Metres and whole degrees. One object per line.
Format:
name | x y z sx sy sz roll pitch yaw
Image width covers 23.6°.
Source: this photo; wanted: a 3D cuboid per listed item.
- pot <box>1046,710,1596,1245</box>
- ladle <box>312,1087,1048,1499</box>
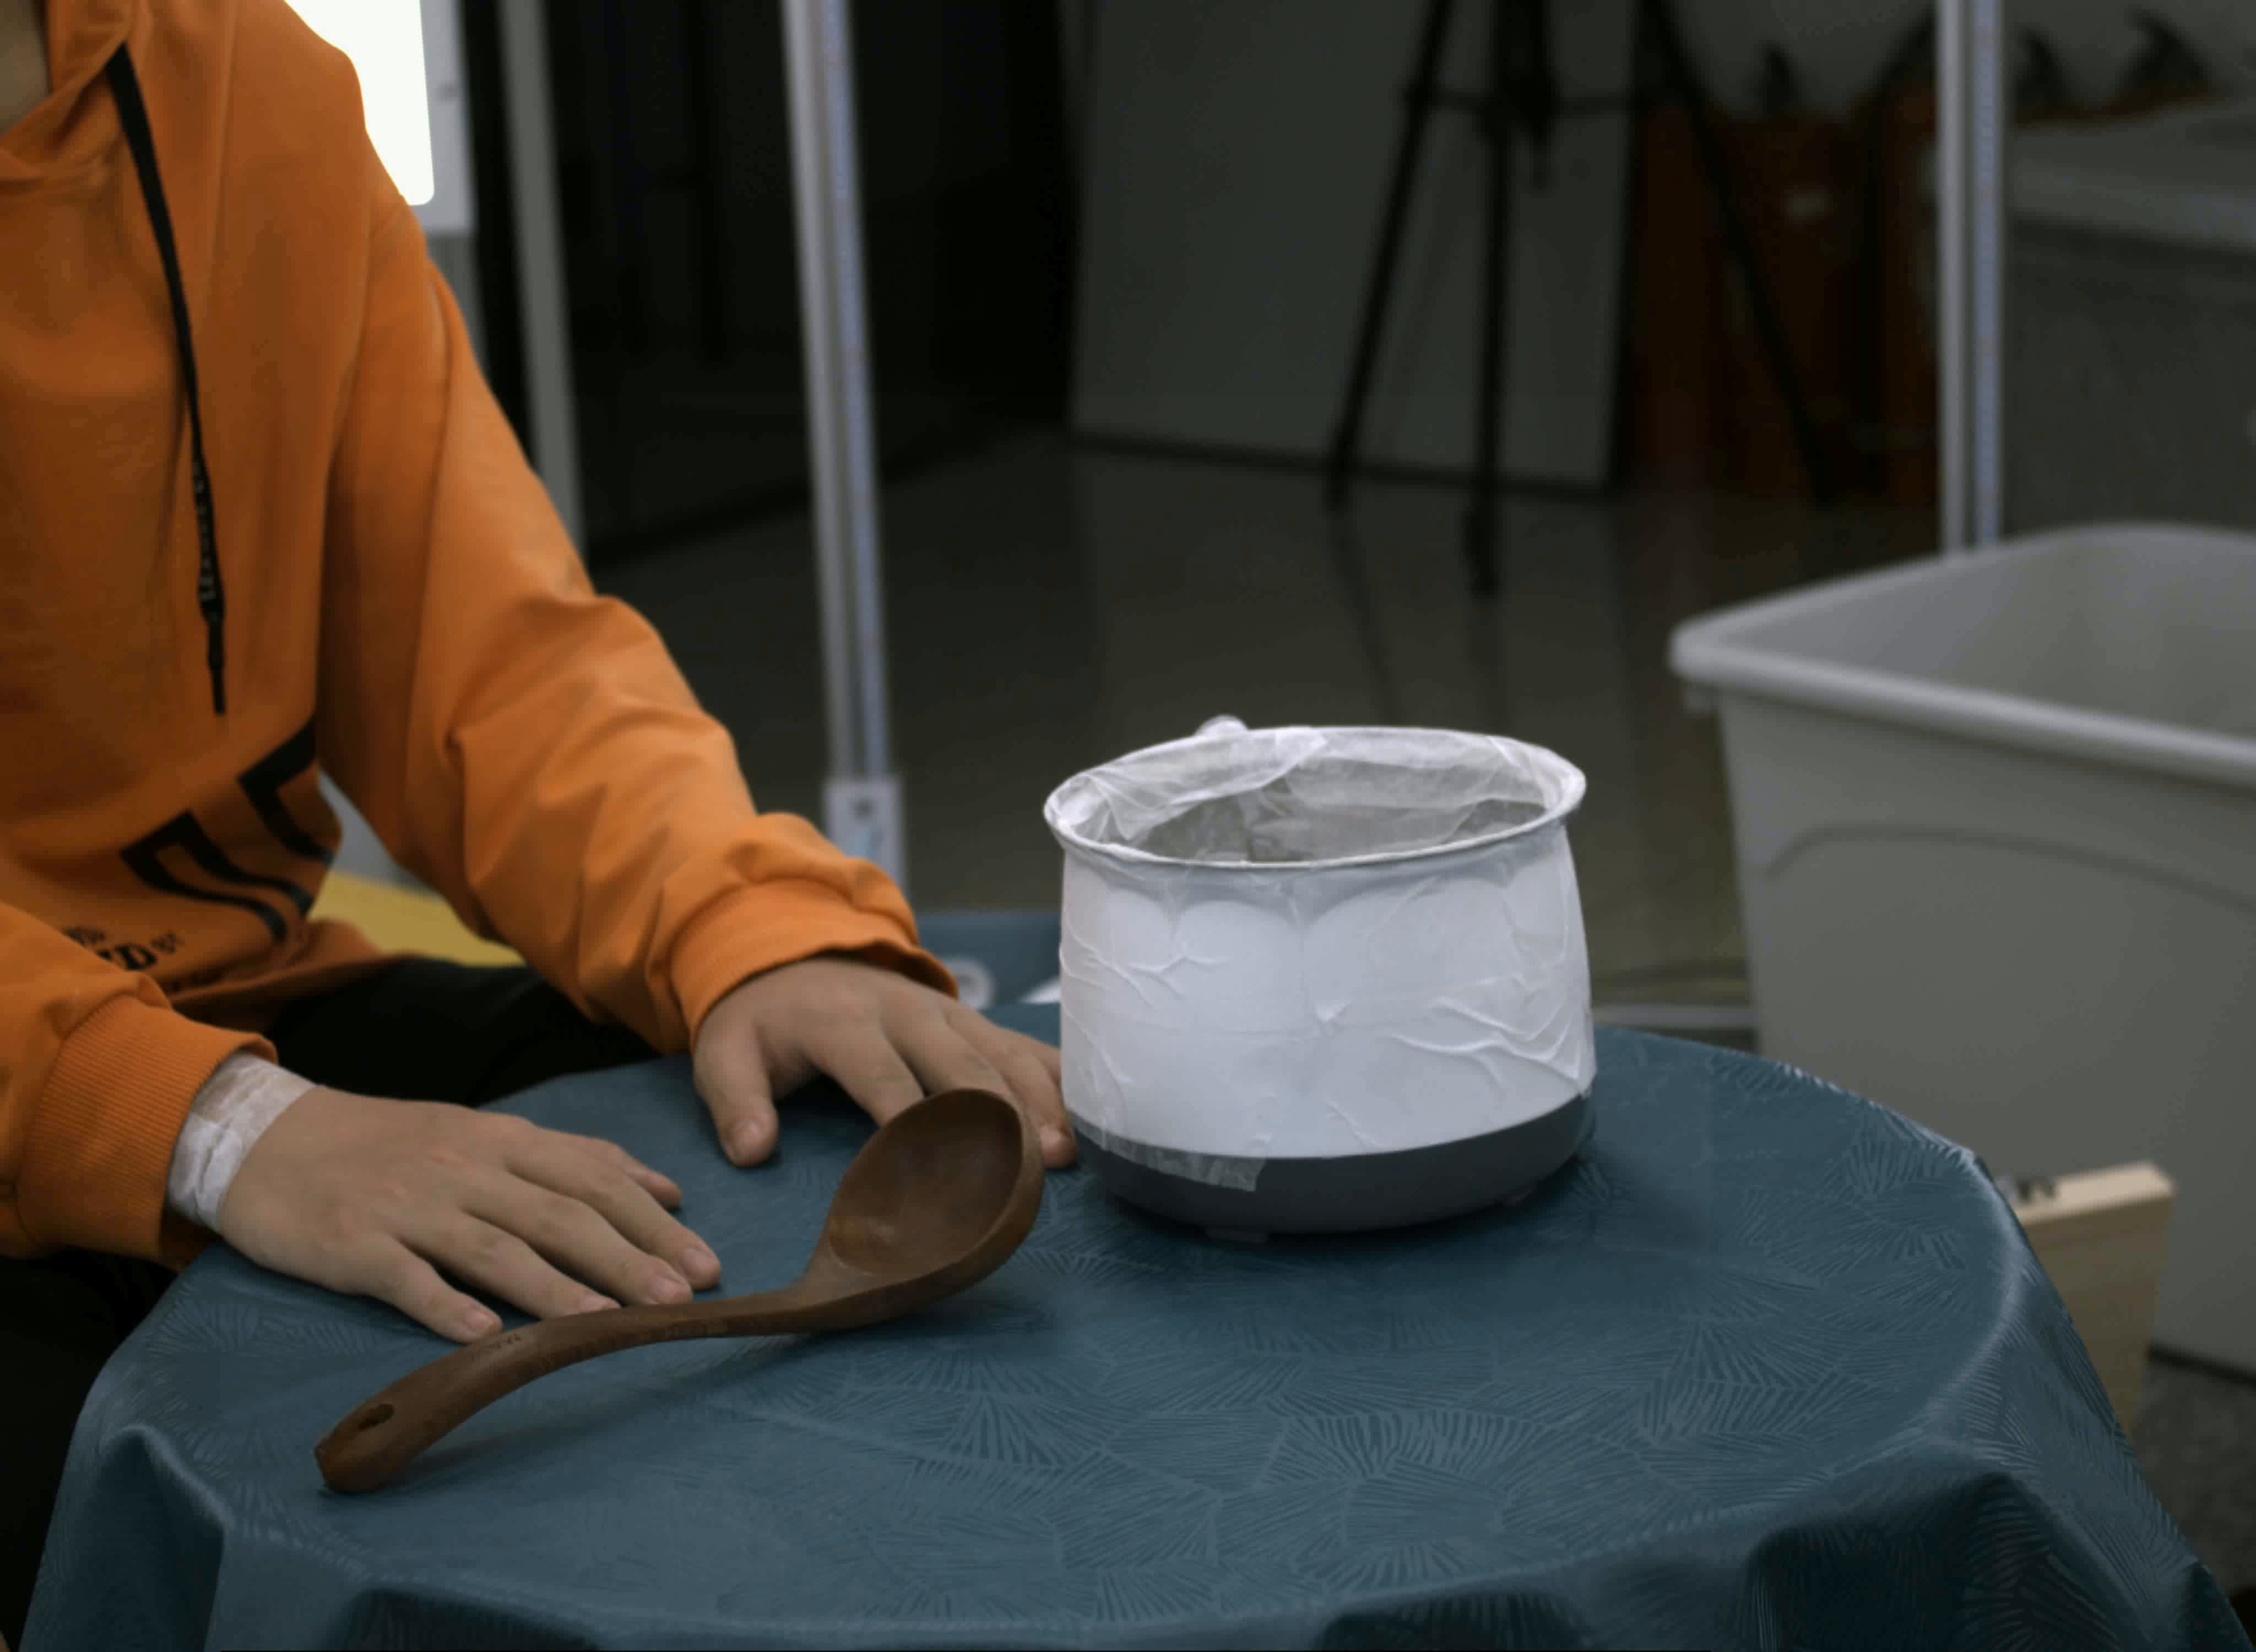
pot | 0.055 0.043 1.779 0.175 0.138 0.235 -7 14 -16
ladle | -0.133 0.136 1.615 0.254 0.066 0.077 -14 14 -36
